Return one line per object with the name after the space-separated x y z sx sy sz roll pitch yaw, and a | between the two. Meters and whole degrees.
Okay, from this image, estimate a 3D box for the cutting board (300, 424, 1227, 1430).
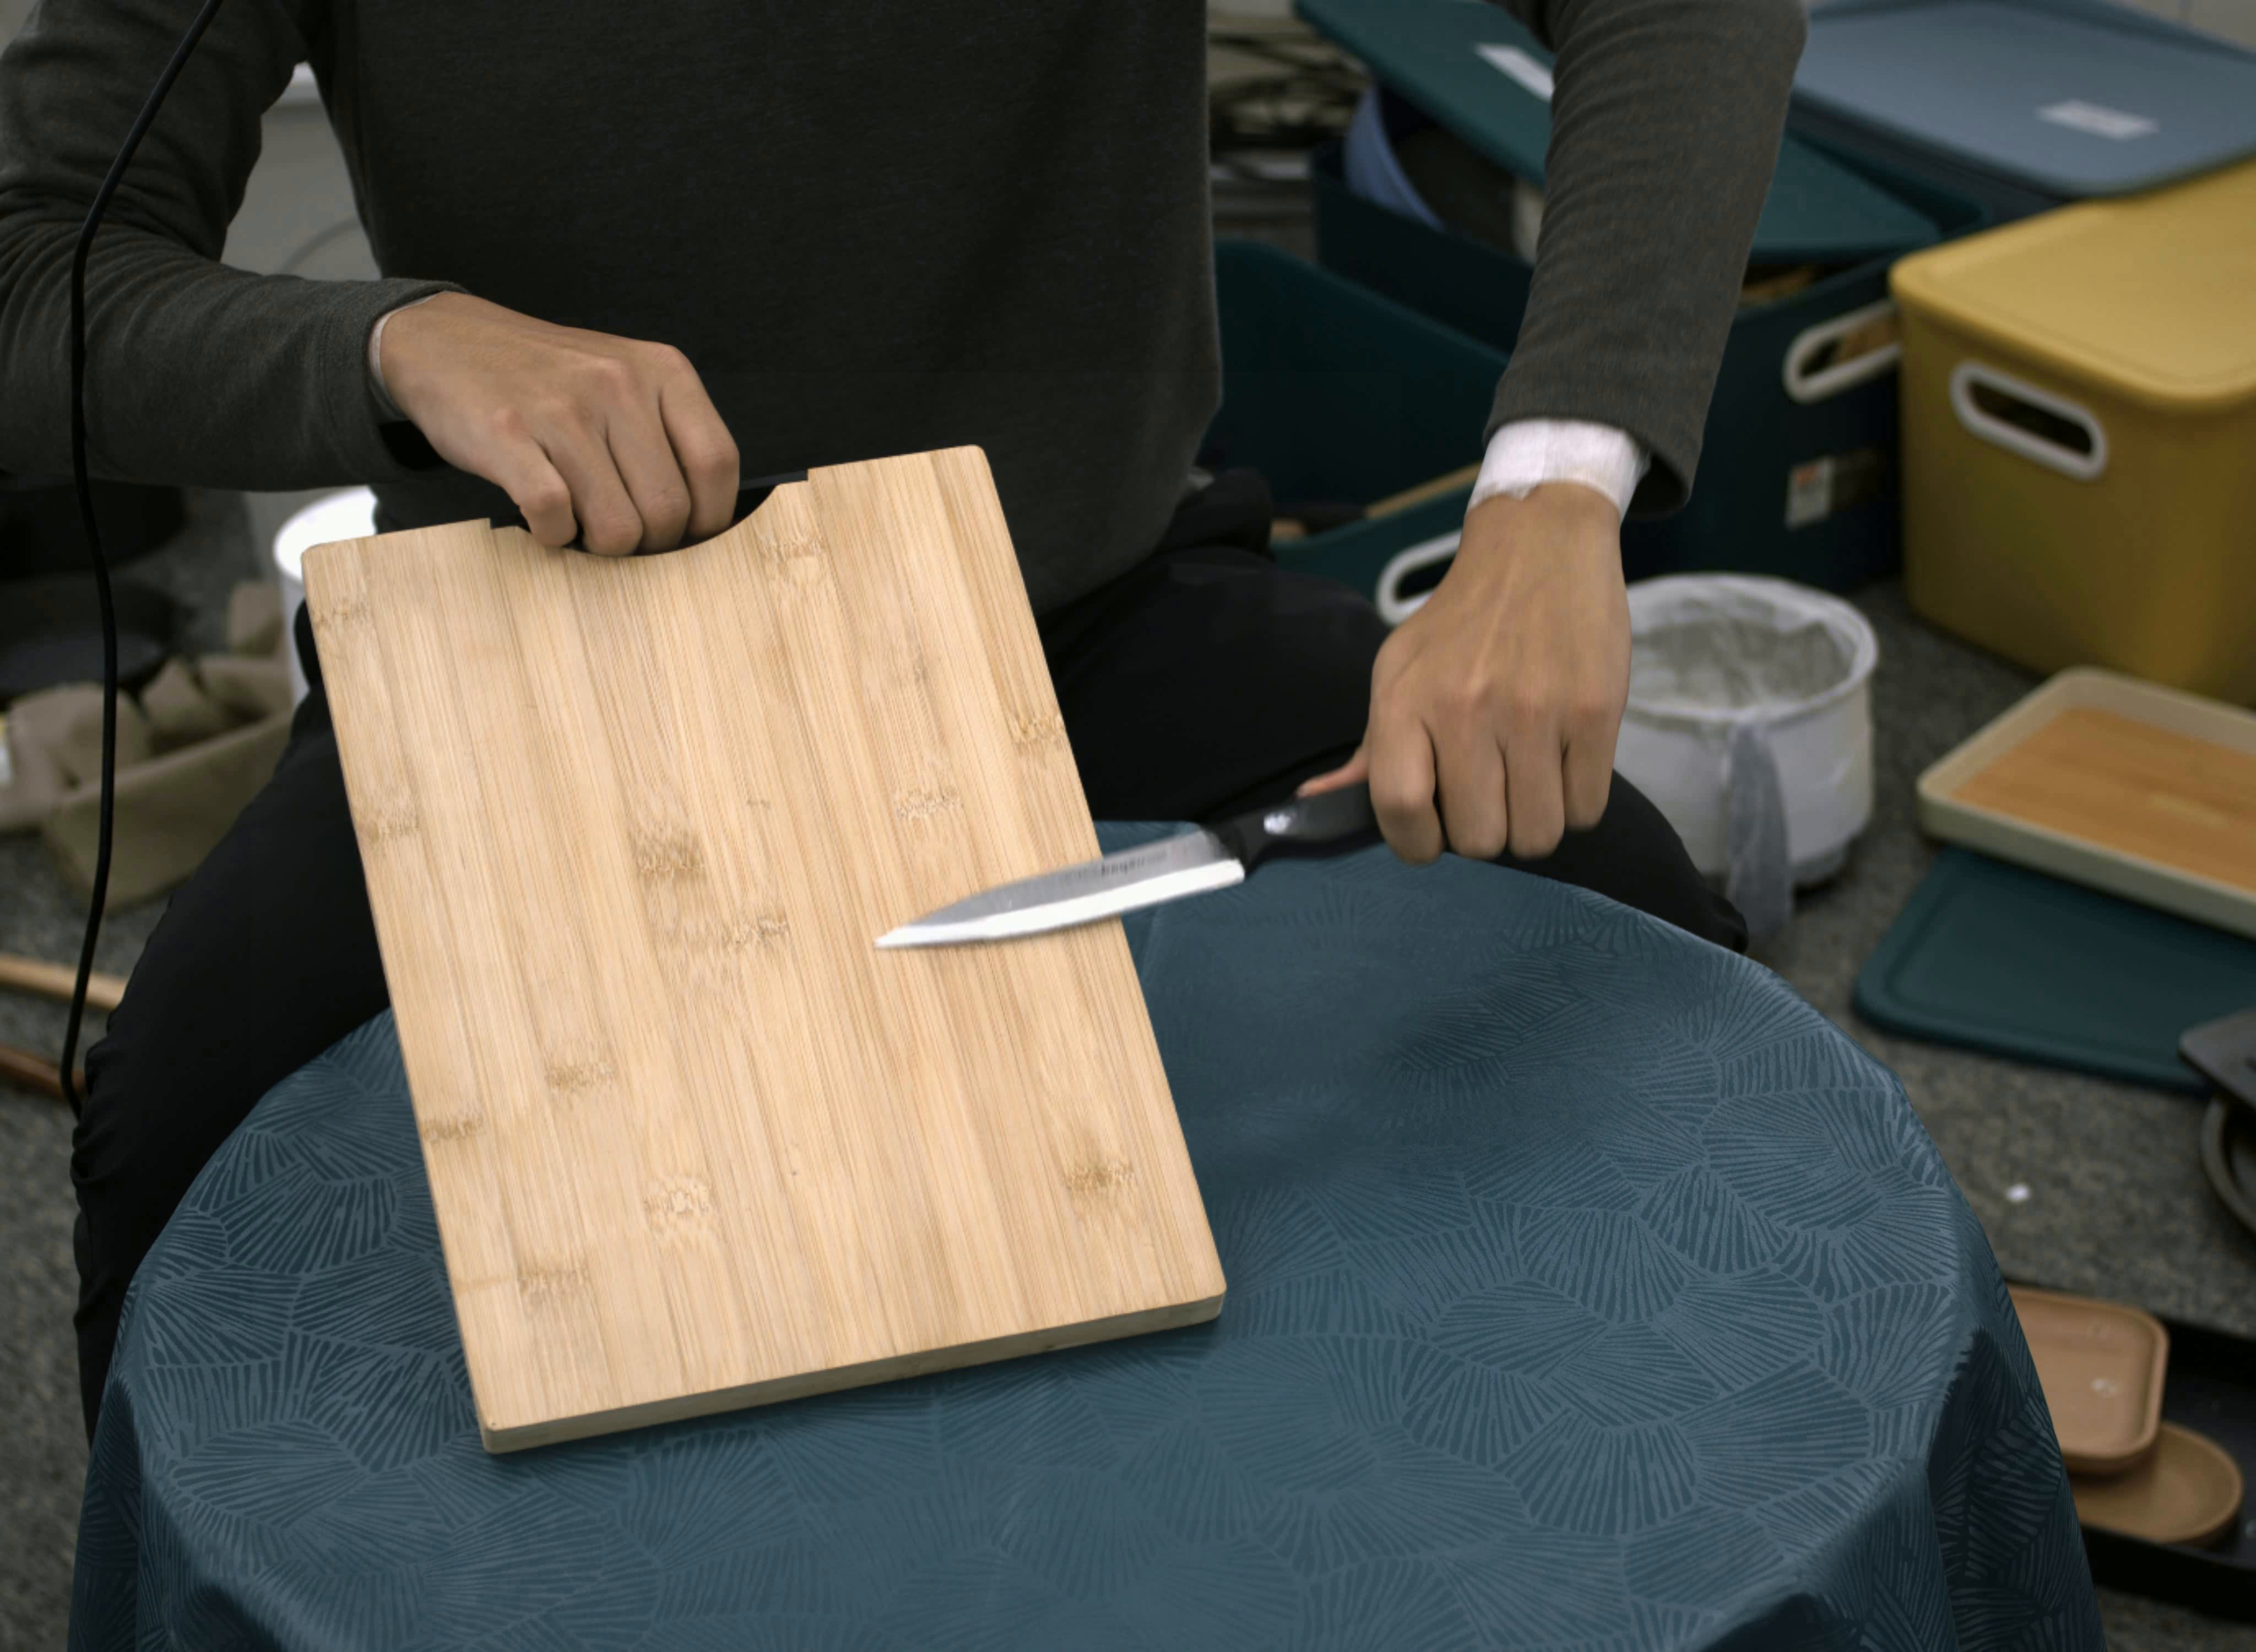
-0.125 0.027 1.850 0.251 0.023 0.354 -9 58 -13 | cutting board

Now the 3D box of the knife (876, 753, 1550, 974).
0.028 0.013 1.861 0.238 0.016 0.025 -16 55 -14 | knife
